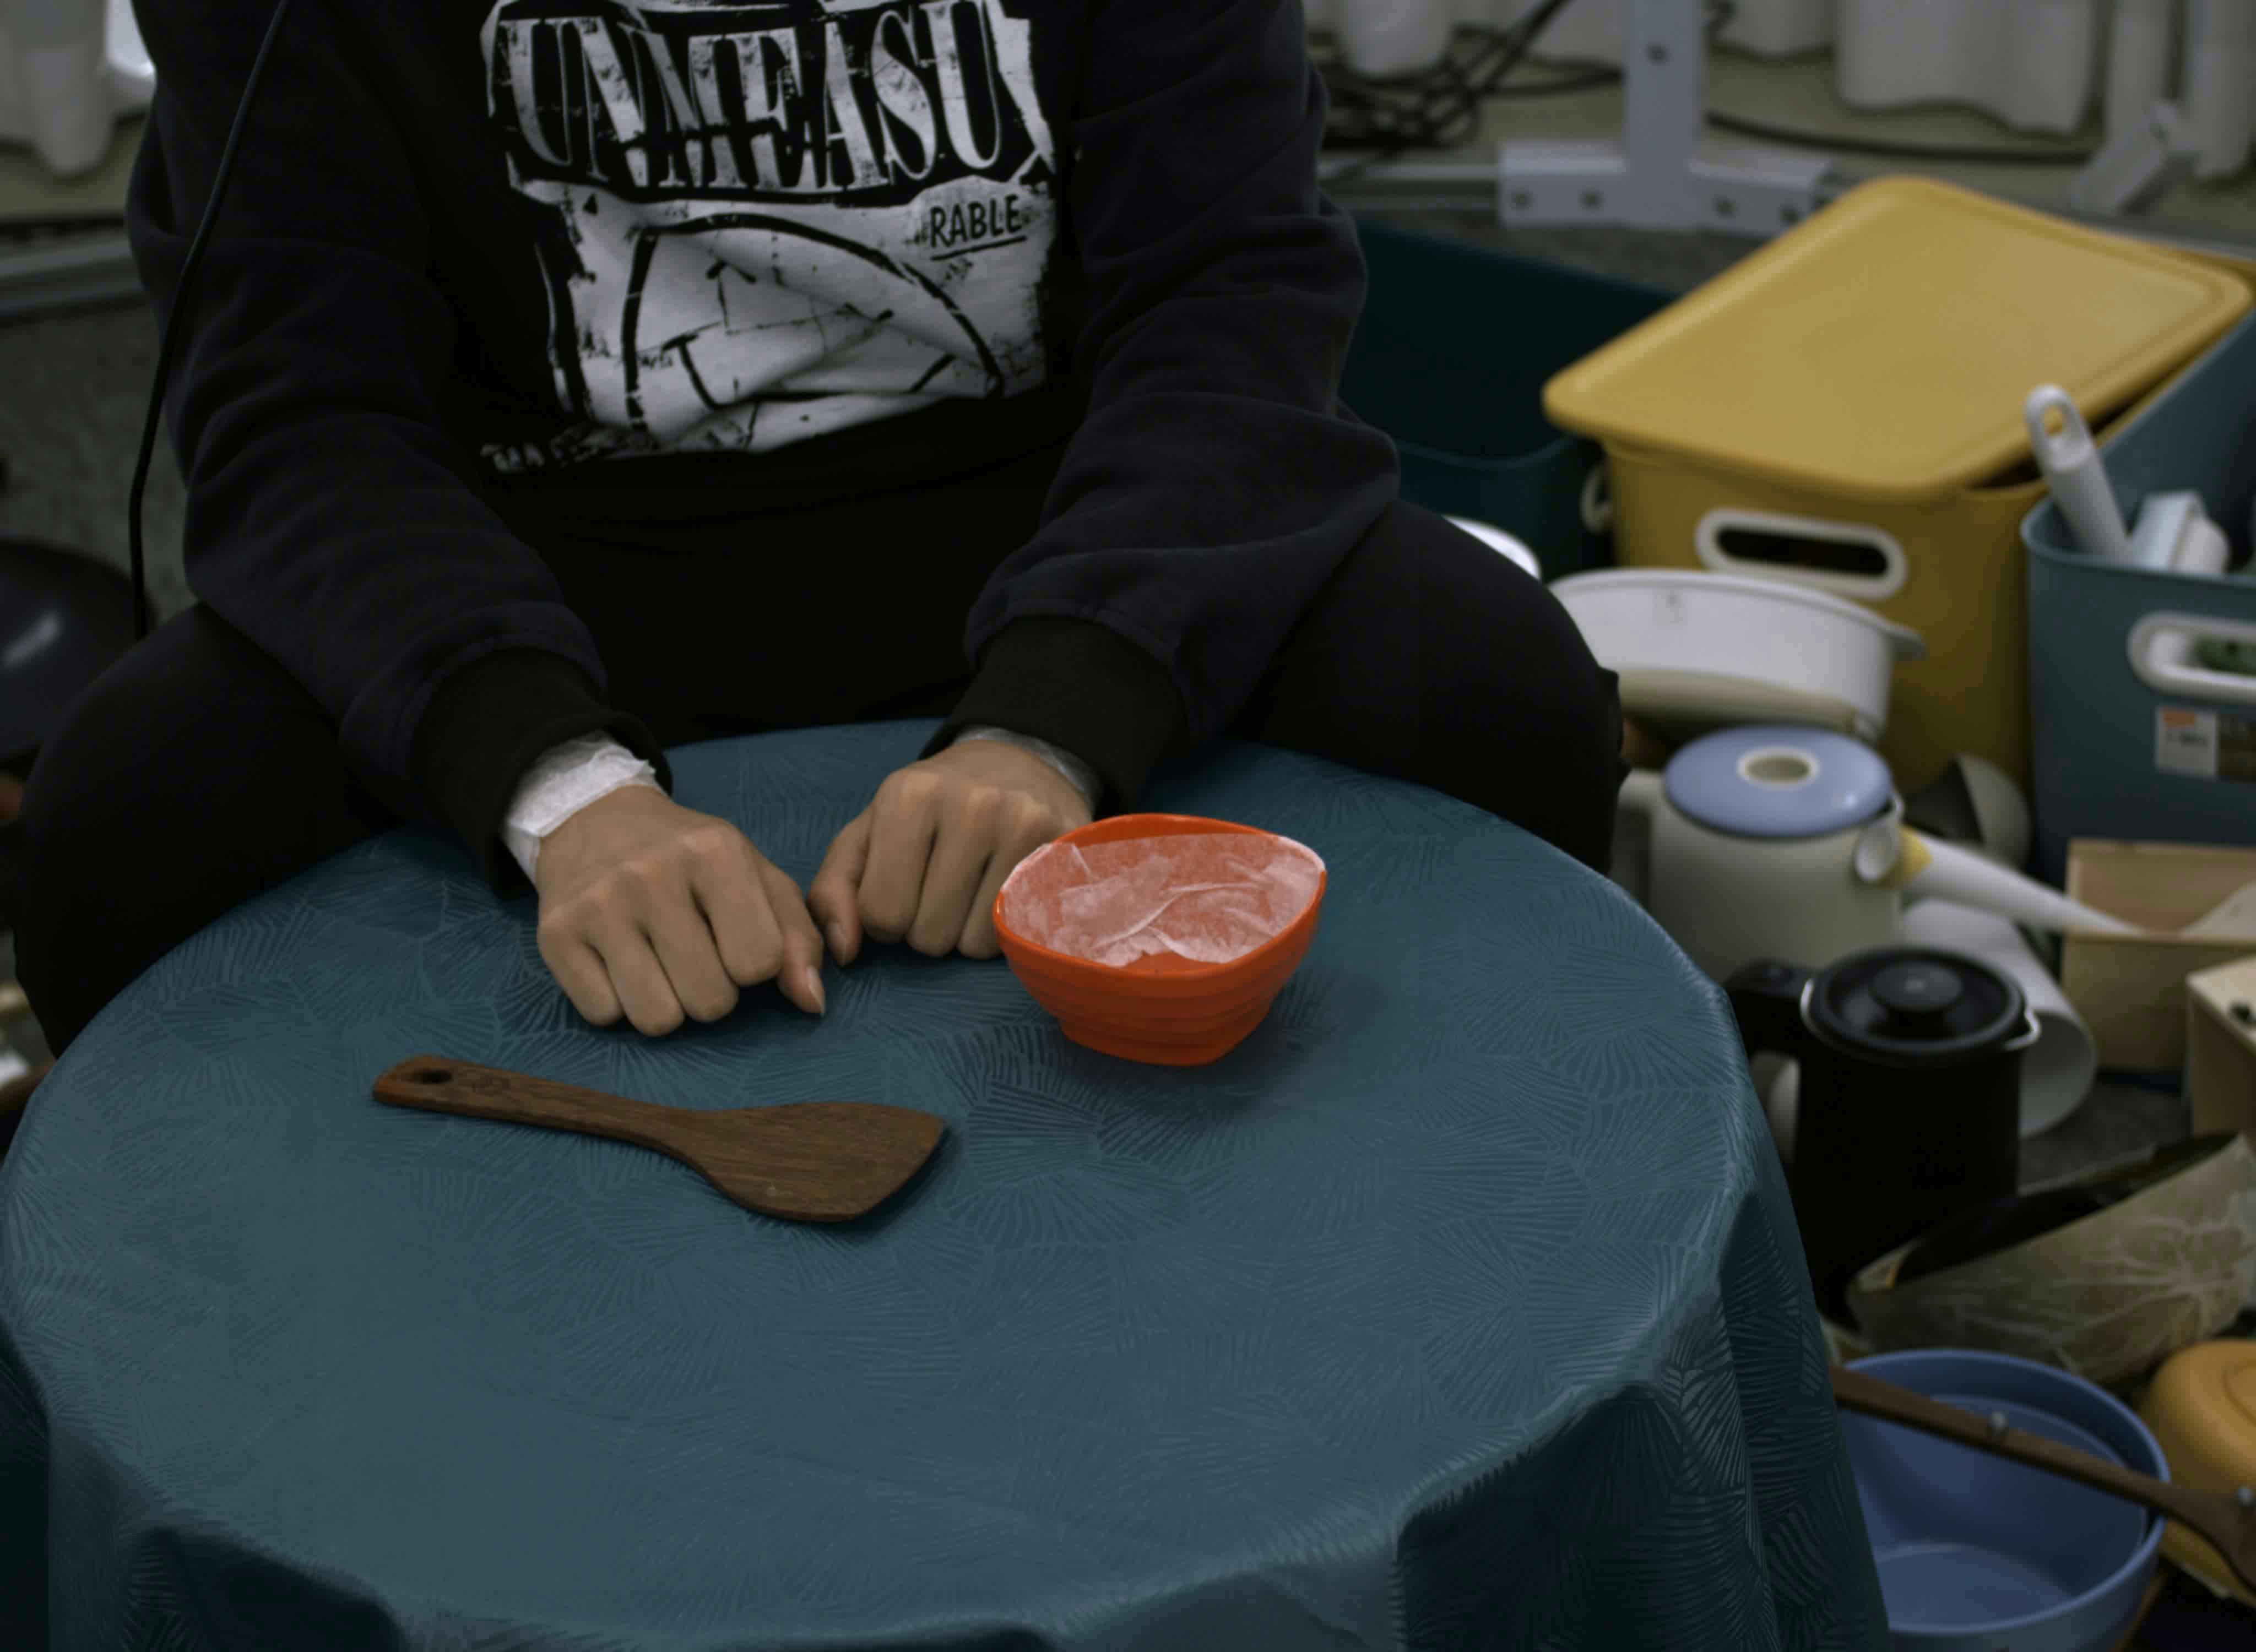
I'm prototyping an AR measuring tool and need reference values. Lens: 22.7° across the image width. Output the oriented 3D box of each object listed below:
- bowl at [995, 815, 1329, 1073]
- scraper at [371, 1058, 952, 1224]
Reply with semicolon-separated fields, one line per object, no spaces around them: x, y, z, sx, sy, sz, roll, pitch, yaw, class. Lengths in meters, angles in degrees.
0.013;0.045;1.955;0.118;0.051;0.121;-3;29;2;bowl
-0.163;0.102;1.907;0.210;0.011;0.077;9;28;23;scraper
